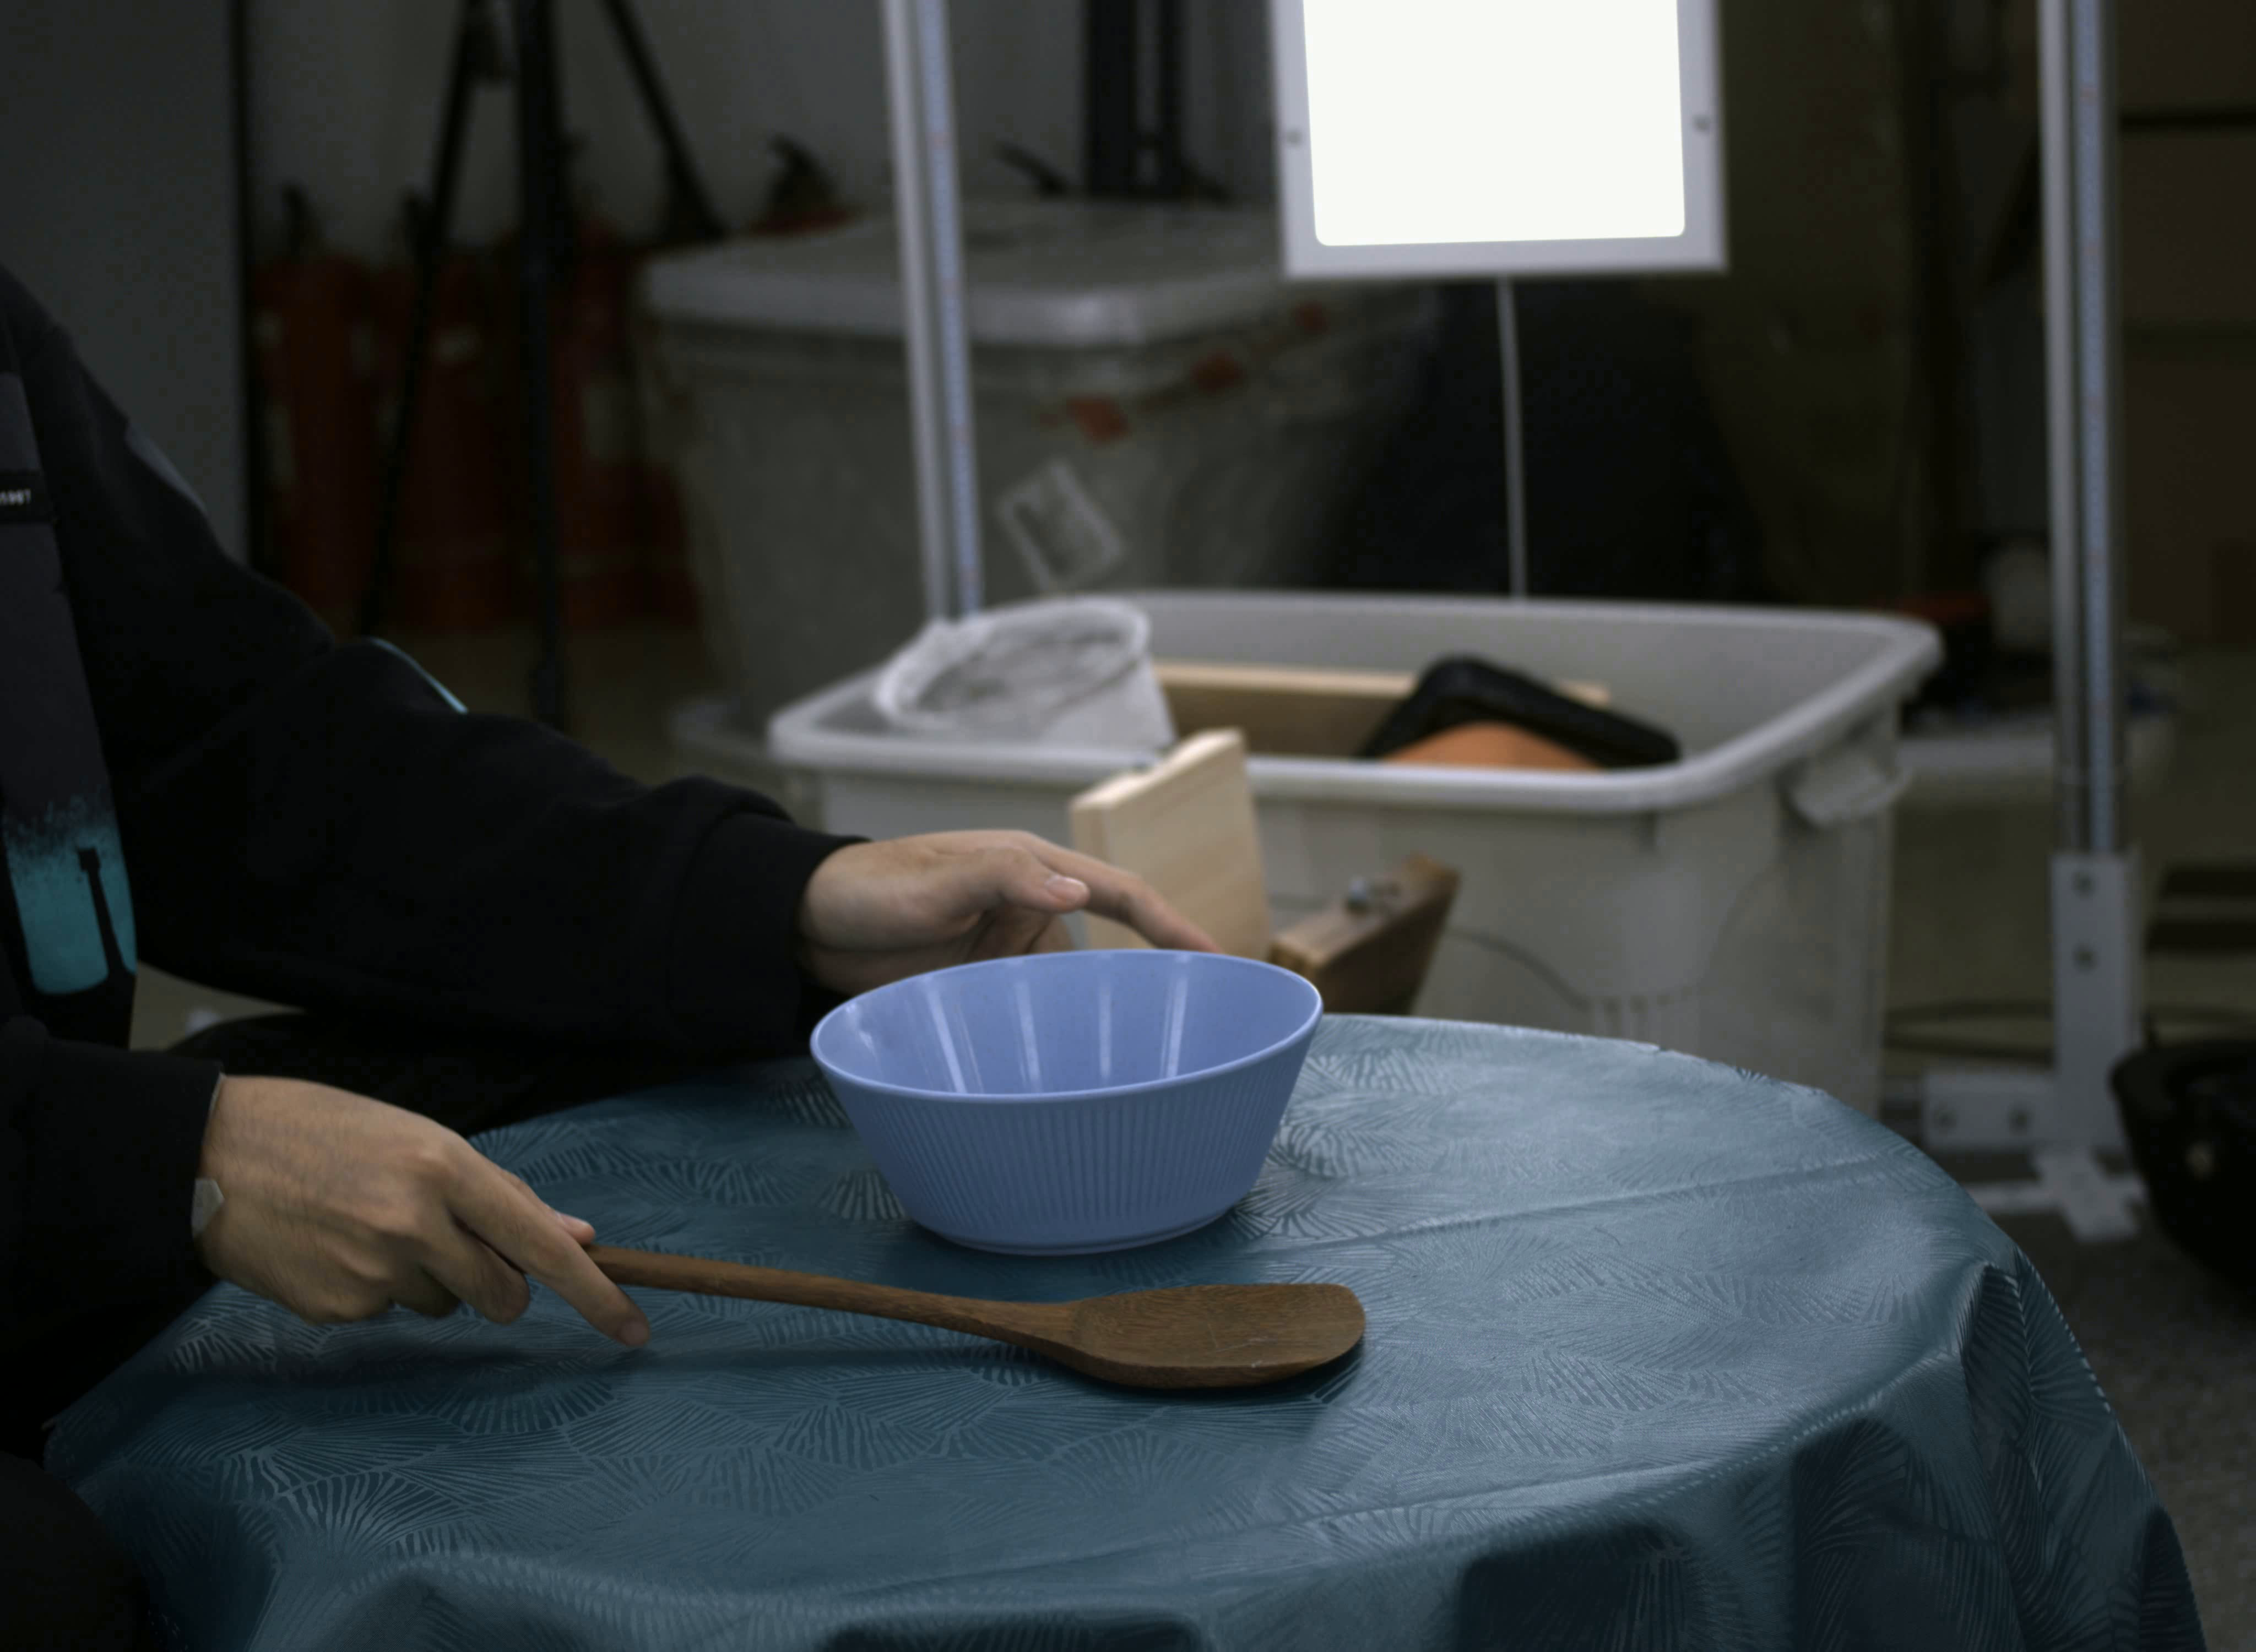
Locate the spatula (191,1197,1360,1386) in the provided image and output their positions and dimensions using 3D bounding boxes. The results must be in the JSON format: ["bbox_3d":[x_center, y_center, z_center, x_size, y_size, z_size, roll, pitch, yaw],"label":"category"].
[{"bbox_3d":[-0.117,0.145,1.761,0.389,0.016,0.095,6,13,13],"label":"spatula"}]

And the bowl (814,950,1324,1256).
[{"bbox_3d":[-0.017,0.097,1.878,0.175,0.070,0.176,-6,13,0],"label":"bowl"}]
